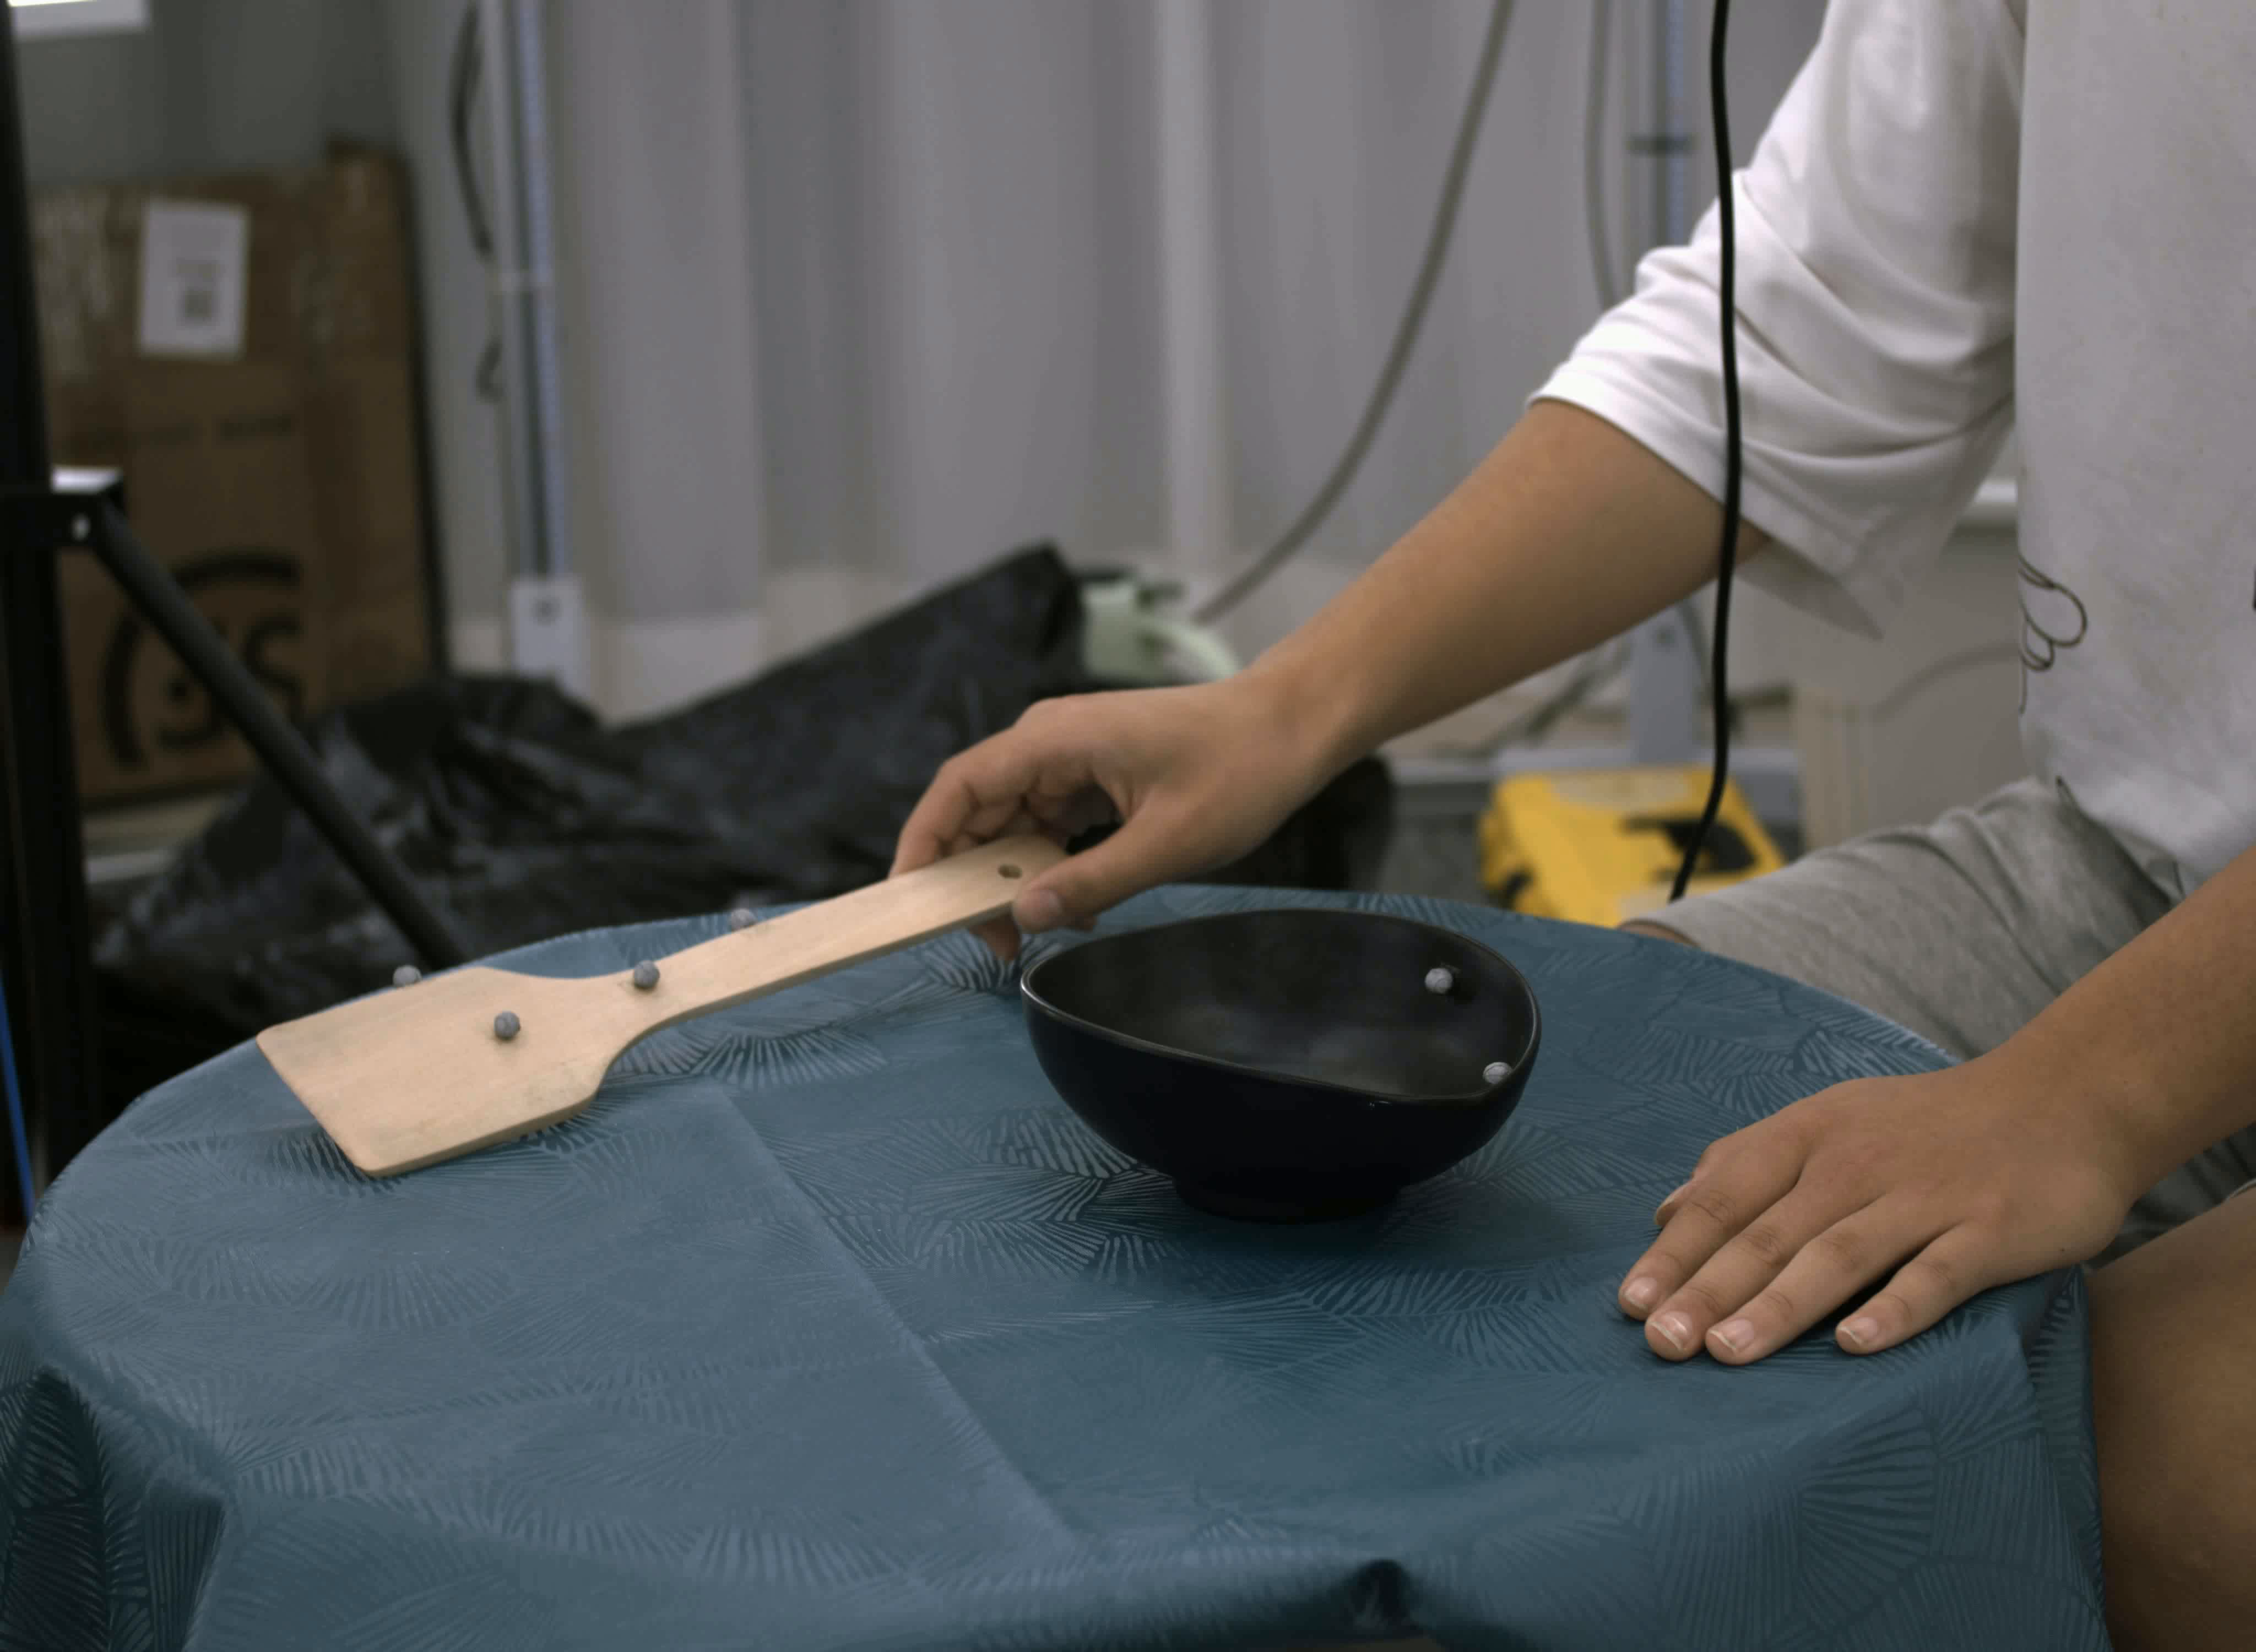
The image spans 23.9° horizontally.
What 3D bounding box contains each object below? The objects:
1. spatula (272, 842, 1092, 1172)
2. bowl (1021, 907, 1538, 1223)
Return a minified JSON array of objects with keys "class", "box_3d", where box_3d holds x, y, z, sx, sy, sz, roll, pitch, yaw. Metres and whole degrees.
[{"class":"spatula","box_3d":[-0.132,0.049,1.699,0.287,0.010,0.074,-18,43,-32]},{"class":"bowl","box_3d":[0.045,0.074,1.554,0.134,0.066,0.174,-16,23,-41]}]
